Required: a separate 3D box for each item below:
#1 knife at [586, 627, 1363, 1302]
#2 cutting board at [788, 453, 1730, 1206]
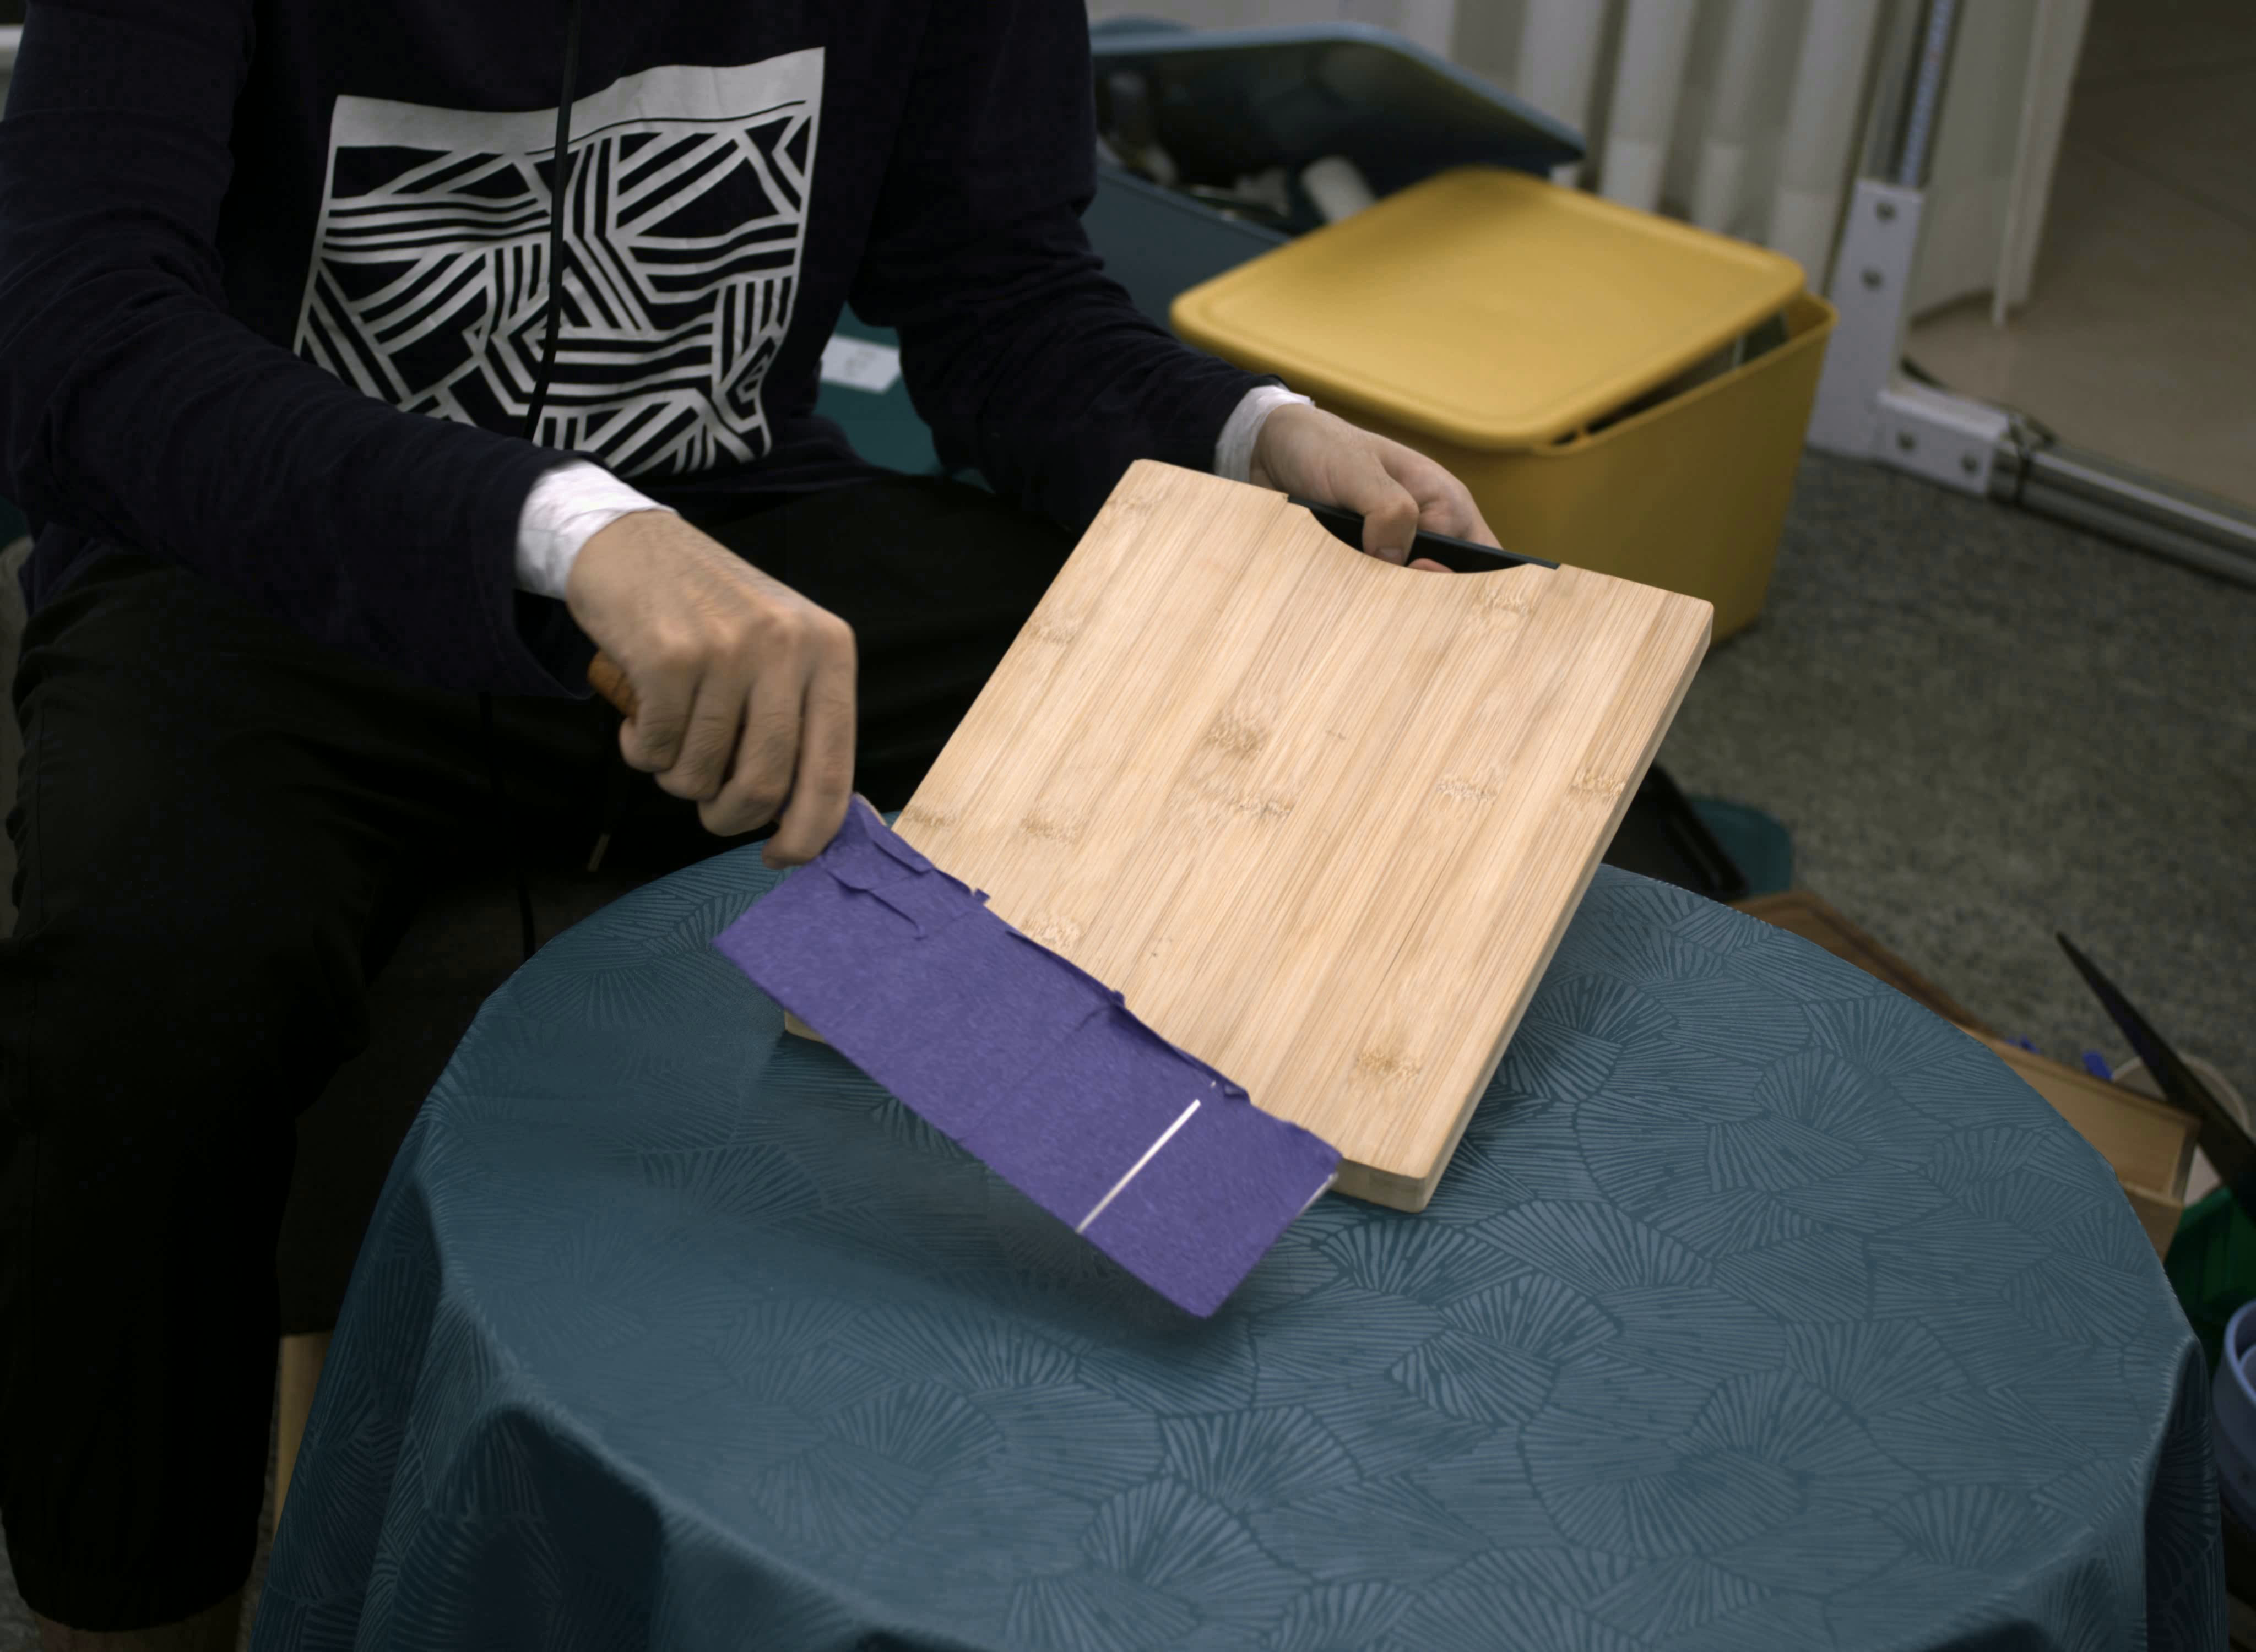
[{"bbox_3d":[-0.070,0.044,1.768,0.316,0.032,0.104,35,44,14],"label":"knife"},{"bbox_3d":[0.054,-0.009,1.963,0.251,0.023,0.350,15,43,16],"label":"cutting board"}]
